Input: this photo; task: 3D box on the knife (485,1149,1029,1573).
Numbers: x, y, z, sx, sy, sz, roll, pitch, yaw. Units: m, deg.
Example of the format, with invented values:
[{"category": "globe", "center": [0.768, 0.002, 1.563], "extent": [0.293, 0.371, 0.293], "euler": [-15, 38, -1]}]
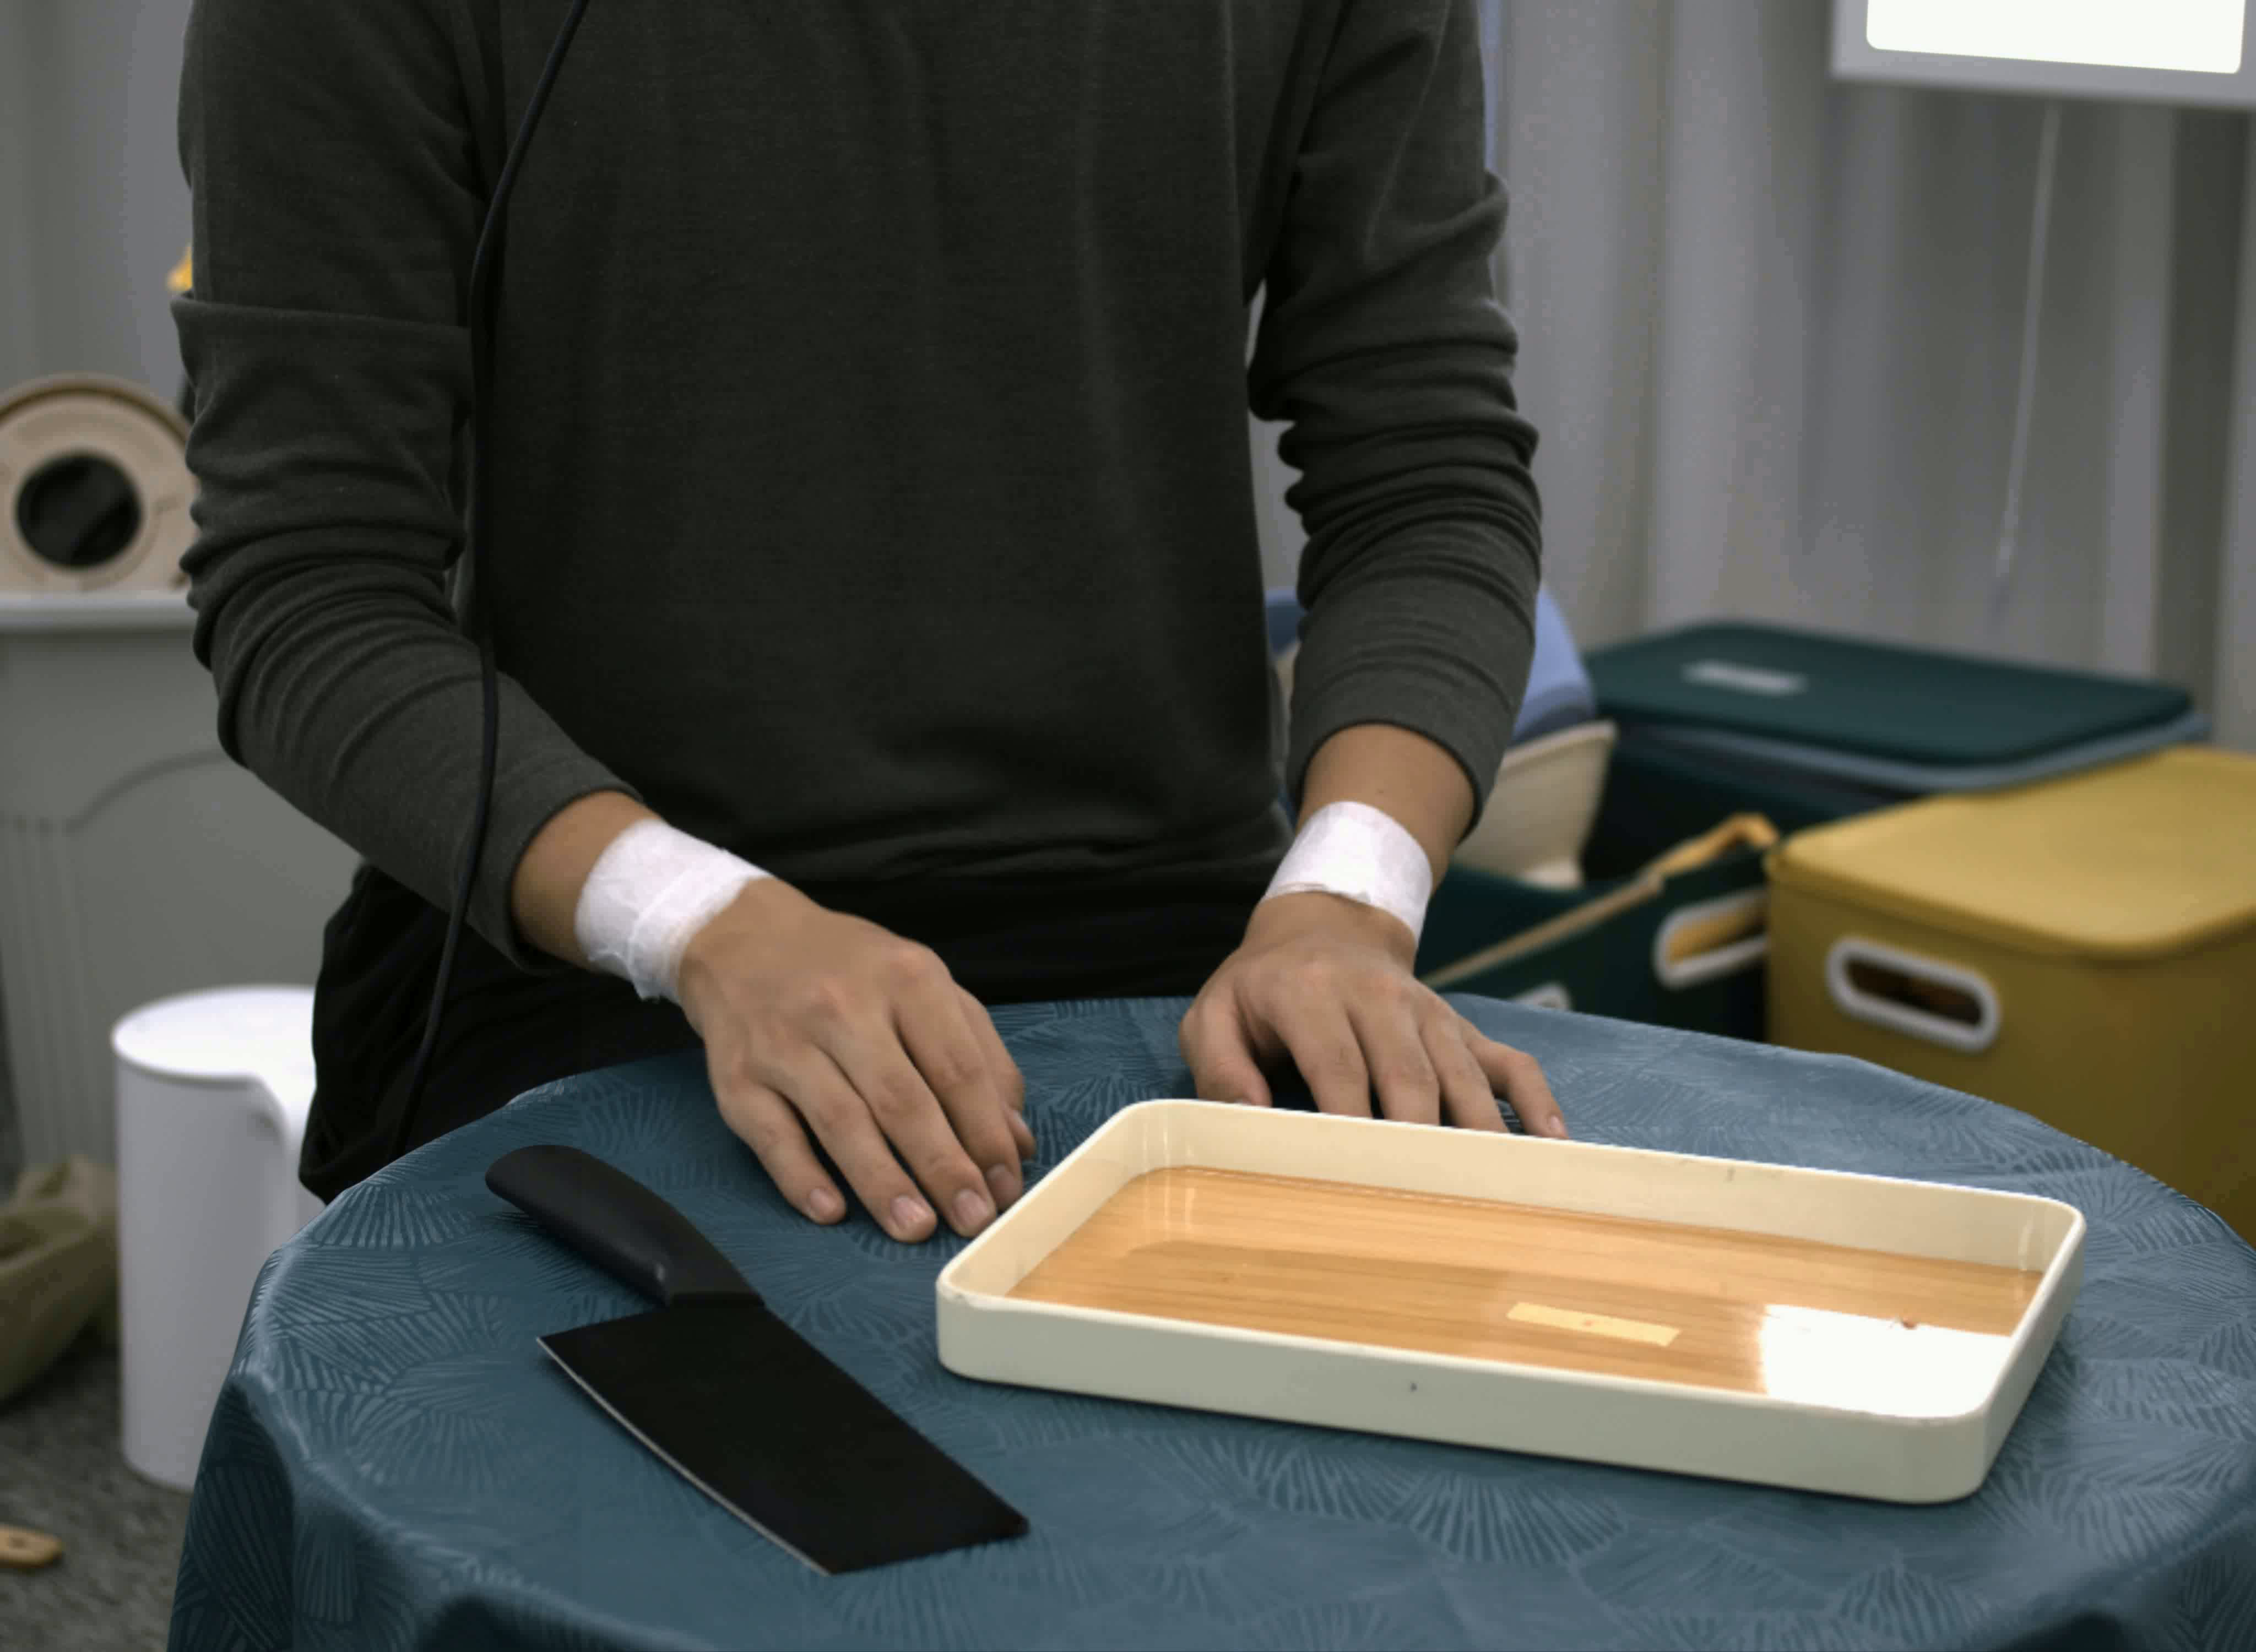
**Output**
[{"category": "knife", "center": [-0.120, 0.146, 1.472], "extent": [0.081, 0.021, 0.298], "euler": [-8, 19, -24]}]

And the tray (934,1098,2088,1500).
[{"category": "tray", "center": [0.112, 0.132, 1.508], "extent": [0.297, 0.027, 0.192], "euler": [6, 16, 18]}]
